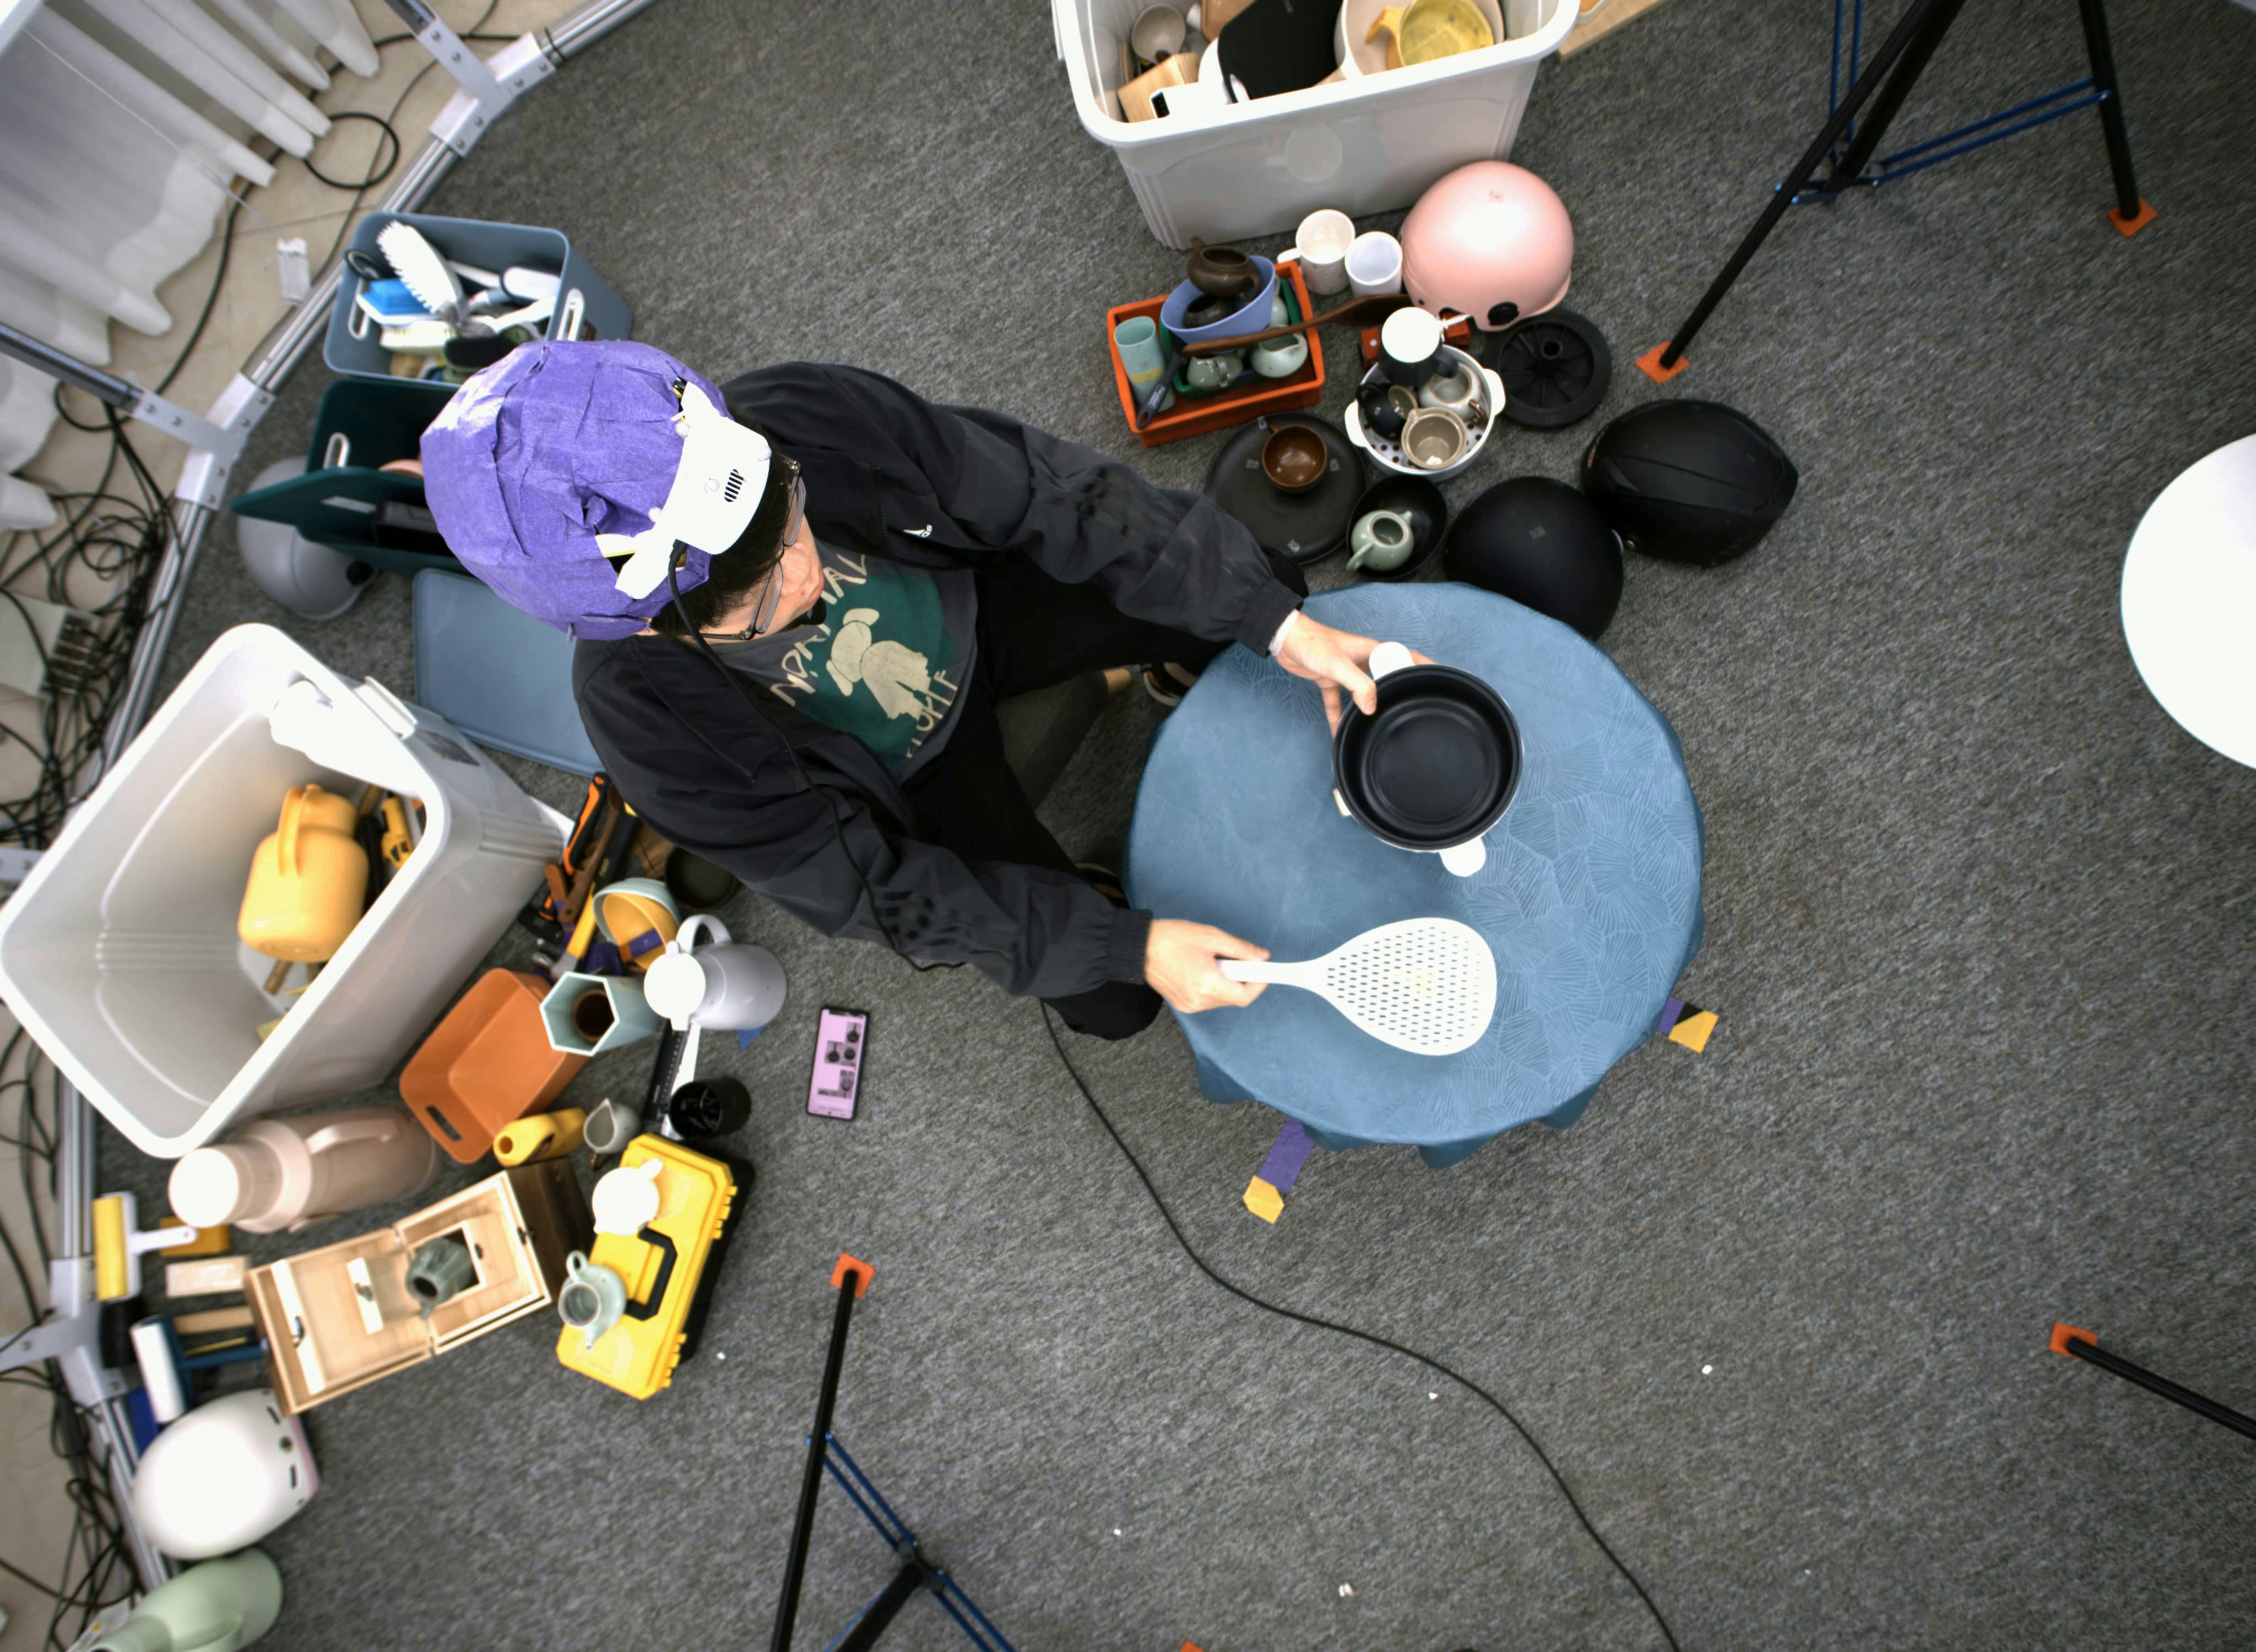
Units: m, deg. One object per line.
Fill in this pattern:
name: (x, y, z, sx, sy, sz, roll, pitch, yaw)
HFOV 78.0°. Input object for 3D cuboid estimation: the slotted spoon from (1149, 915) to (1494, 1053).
slotted spoon: (0.191, 0.152, 1.401, 0.349, 0.050, 0.136, 2, 88, 10)

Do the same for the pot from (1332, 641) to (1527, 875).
pot: (0.296, -0.060, 1.379, 0.192, 0.142, 0.239, -21, 82, 10)
